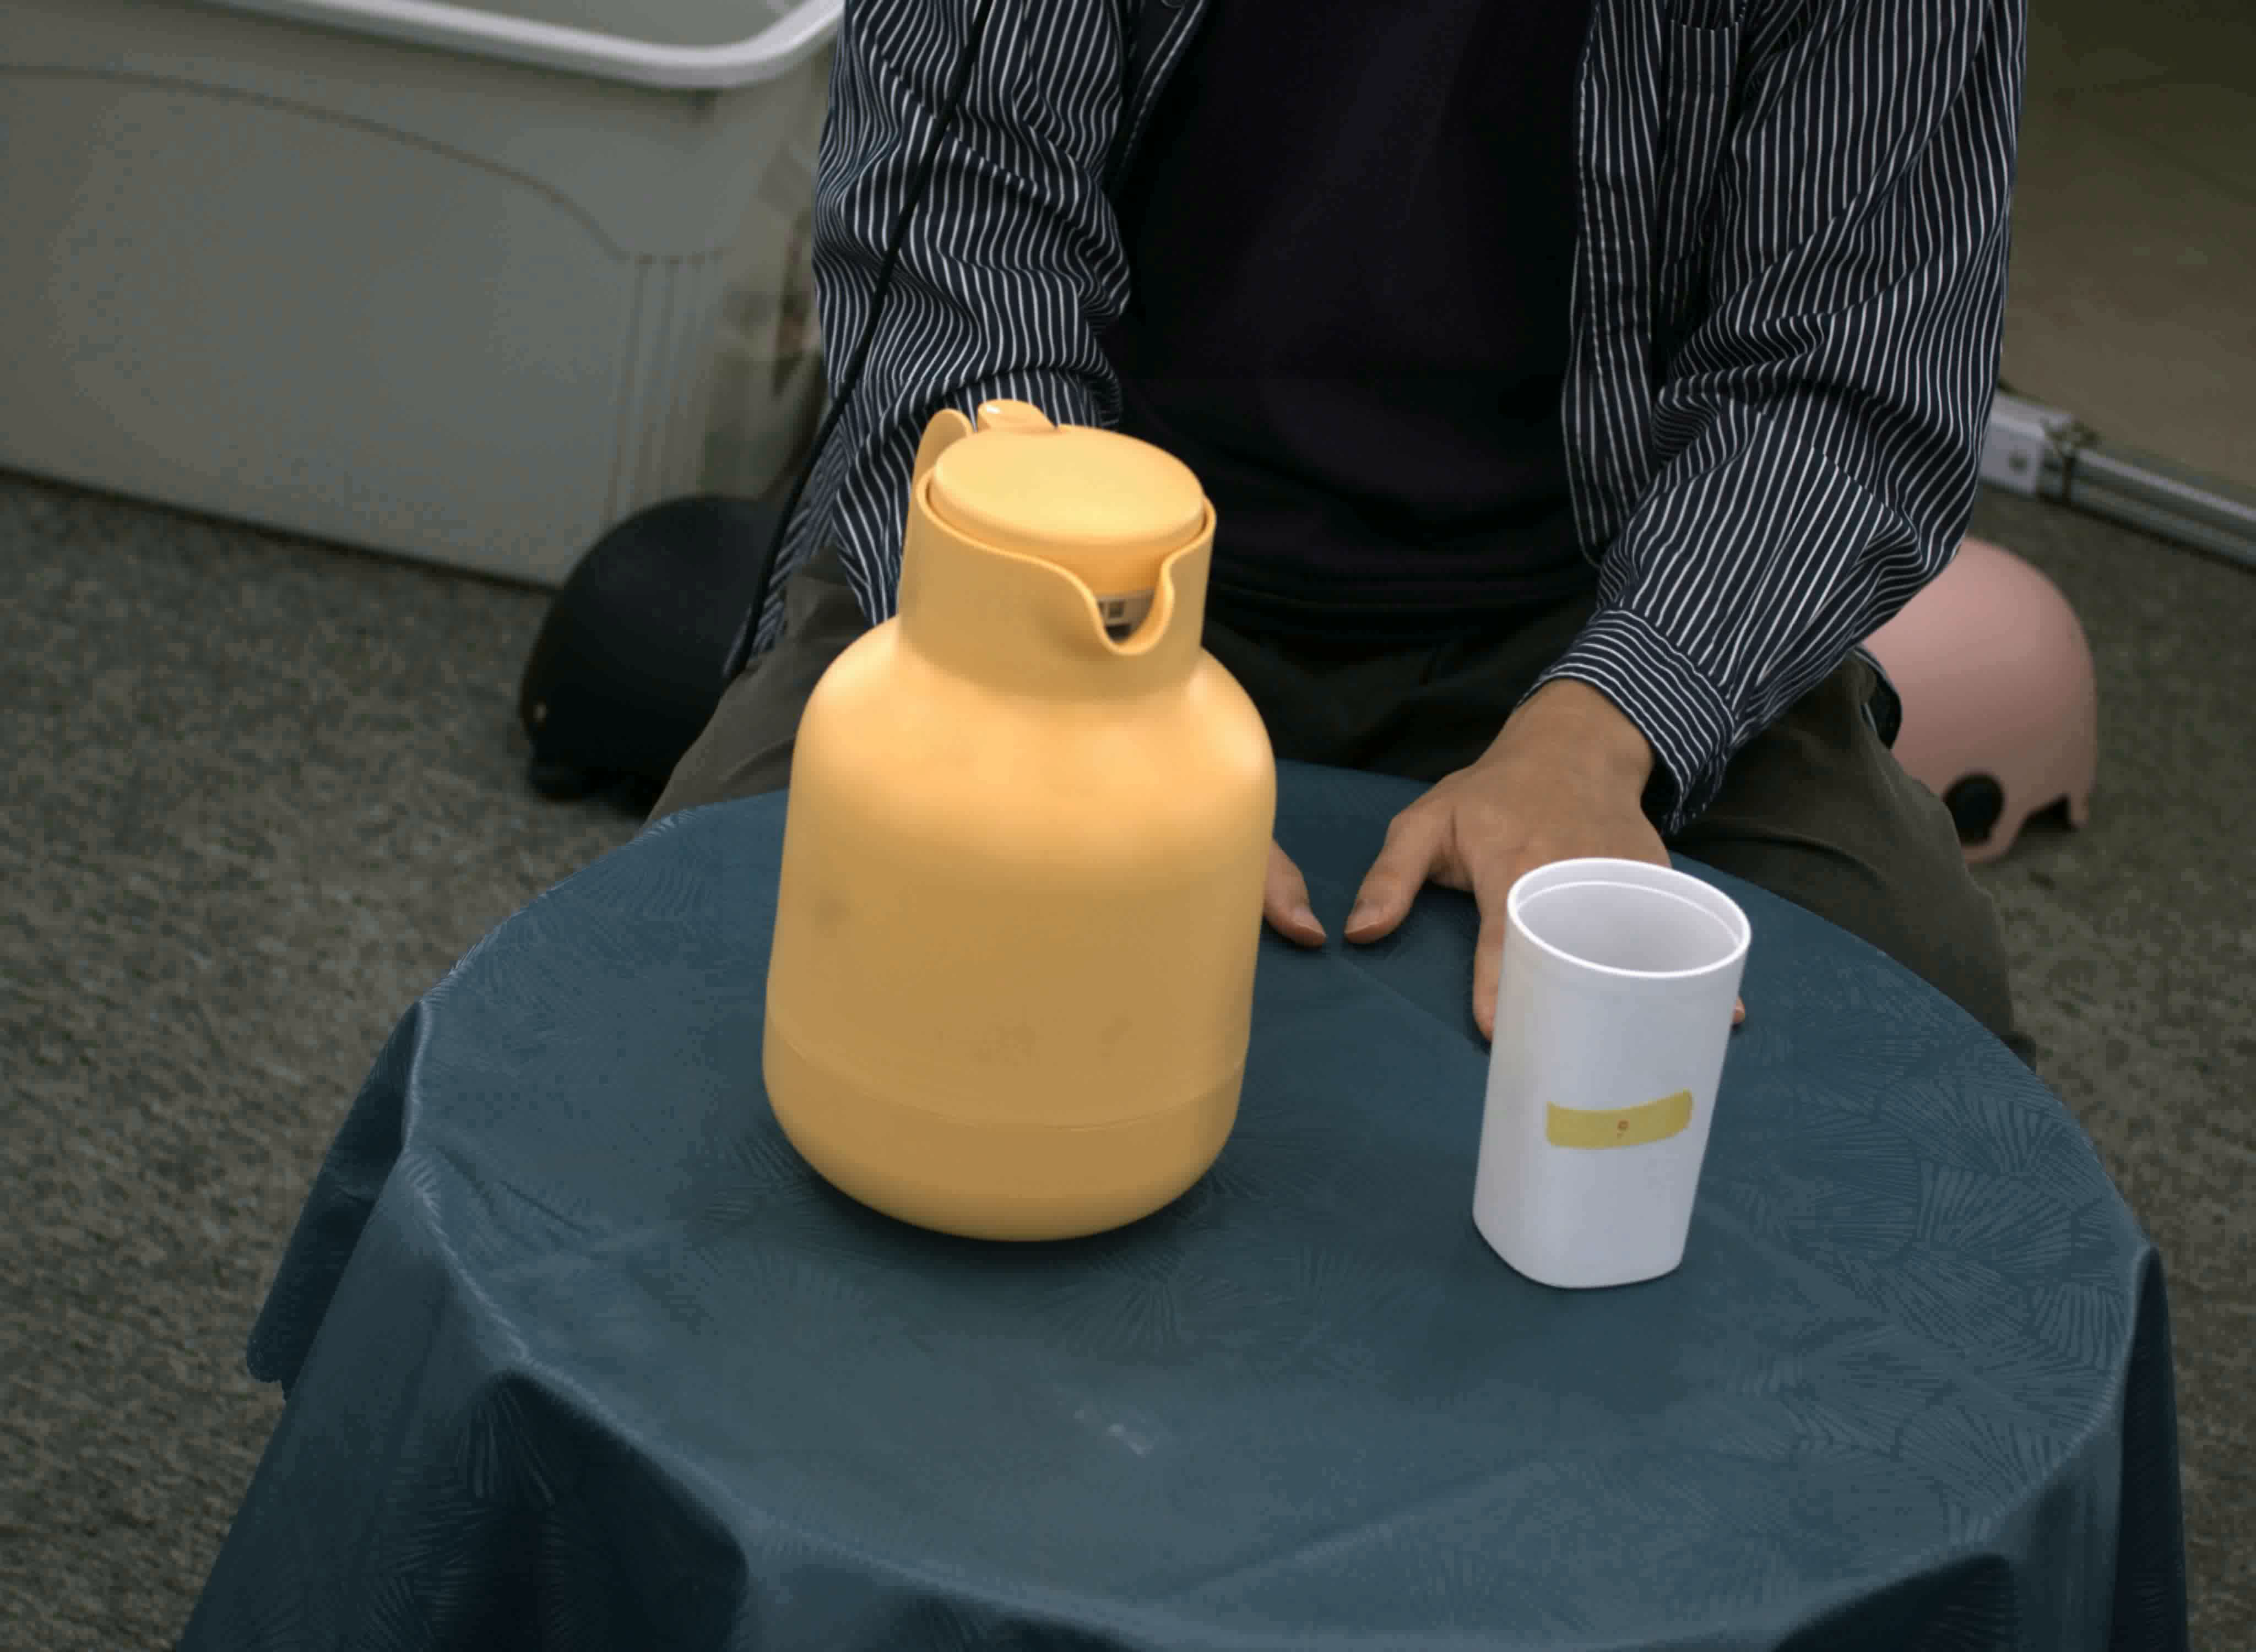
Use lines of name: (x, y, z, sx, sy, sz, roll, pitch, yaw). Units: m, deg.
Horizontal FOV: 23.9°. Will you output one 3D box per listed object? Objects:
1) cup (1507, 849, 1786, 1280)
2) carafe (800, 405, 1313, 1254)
cup: (0.170, 0.082, 1.775, 0.081, 0.125, 0.082, 5, 26, -3)
carafe: (-0.026, -0.008, 1.766, 0.162, 0.259, 0.204, -3, 28, -21)
